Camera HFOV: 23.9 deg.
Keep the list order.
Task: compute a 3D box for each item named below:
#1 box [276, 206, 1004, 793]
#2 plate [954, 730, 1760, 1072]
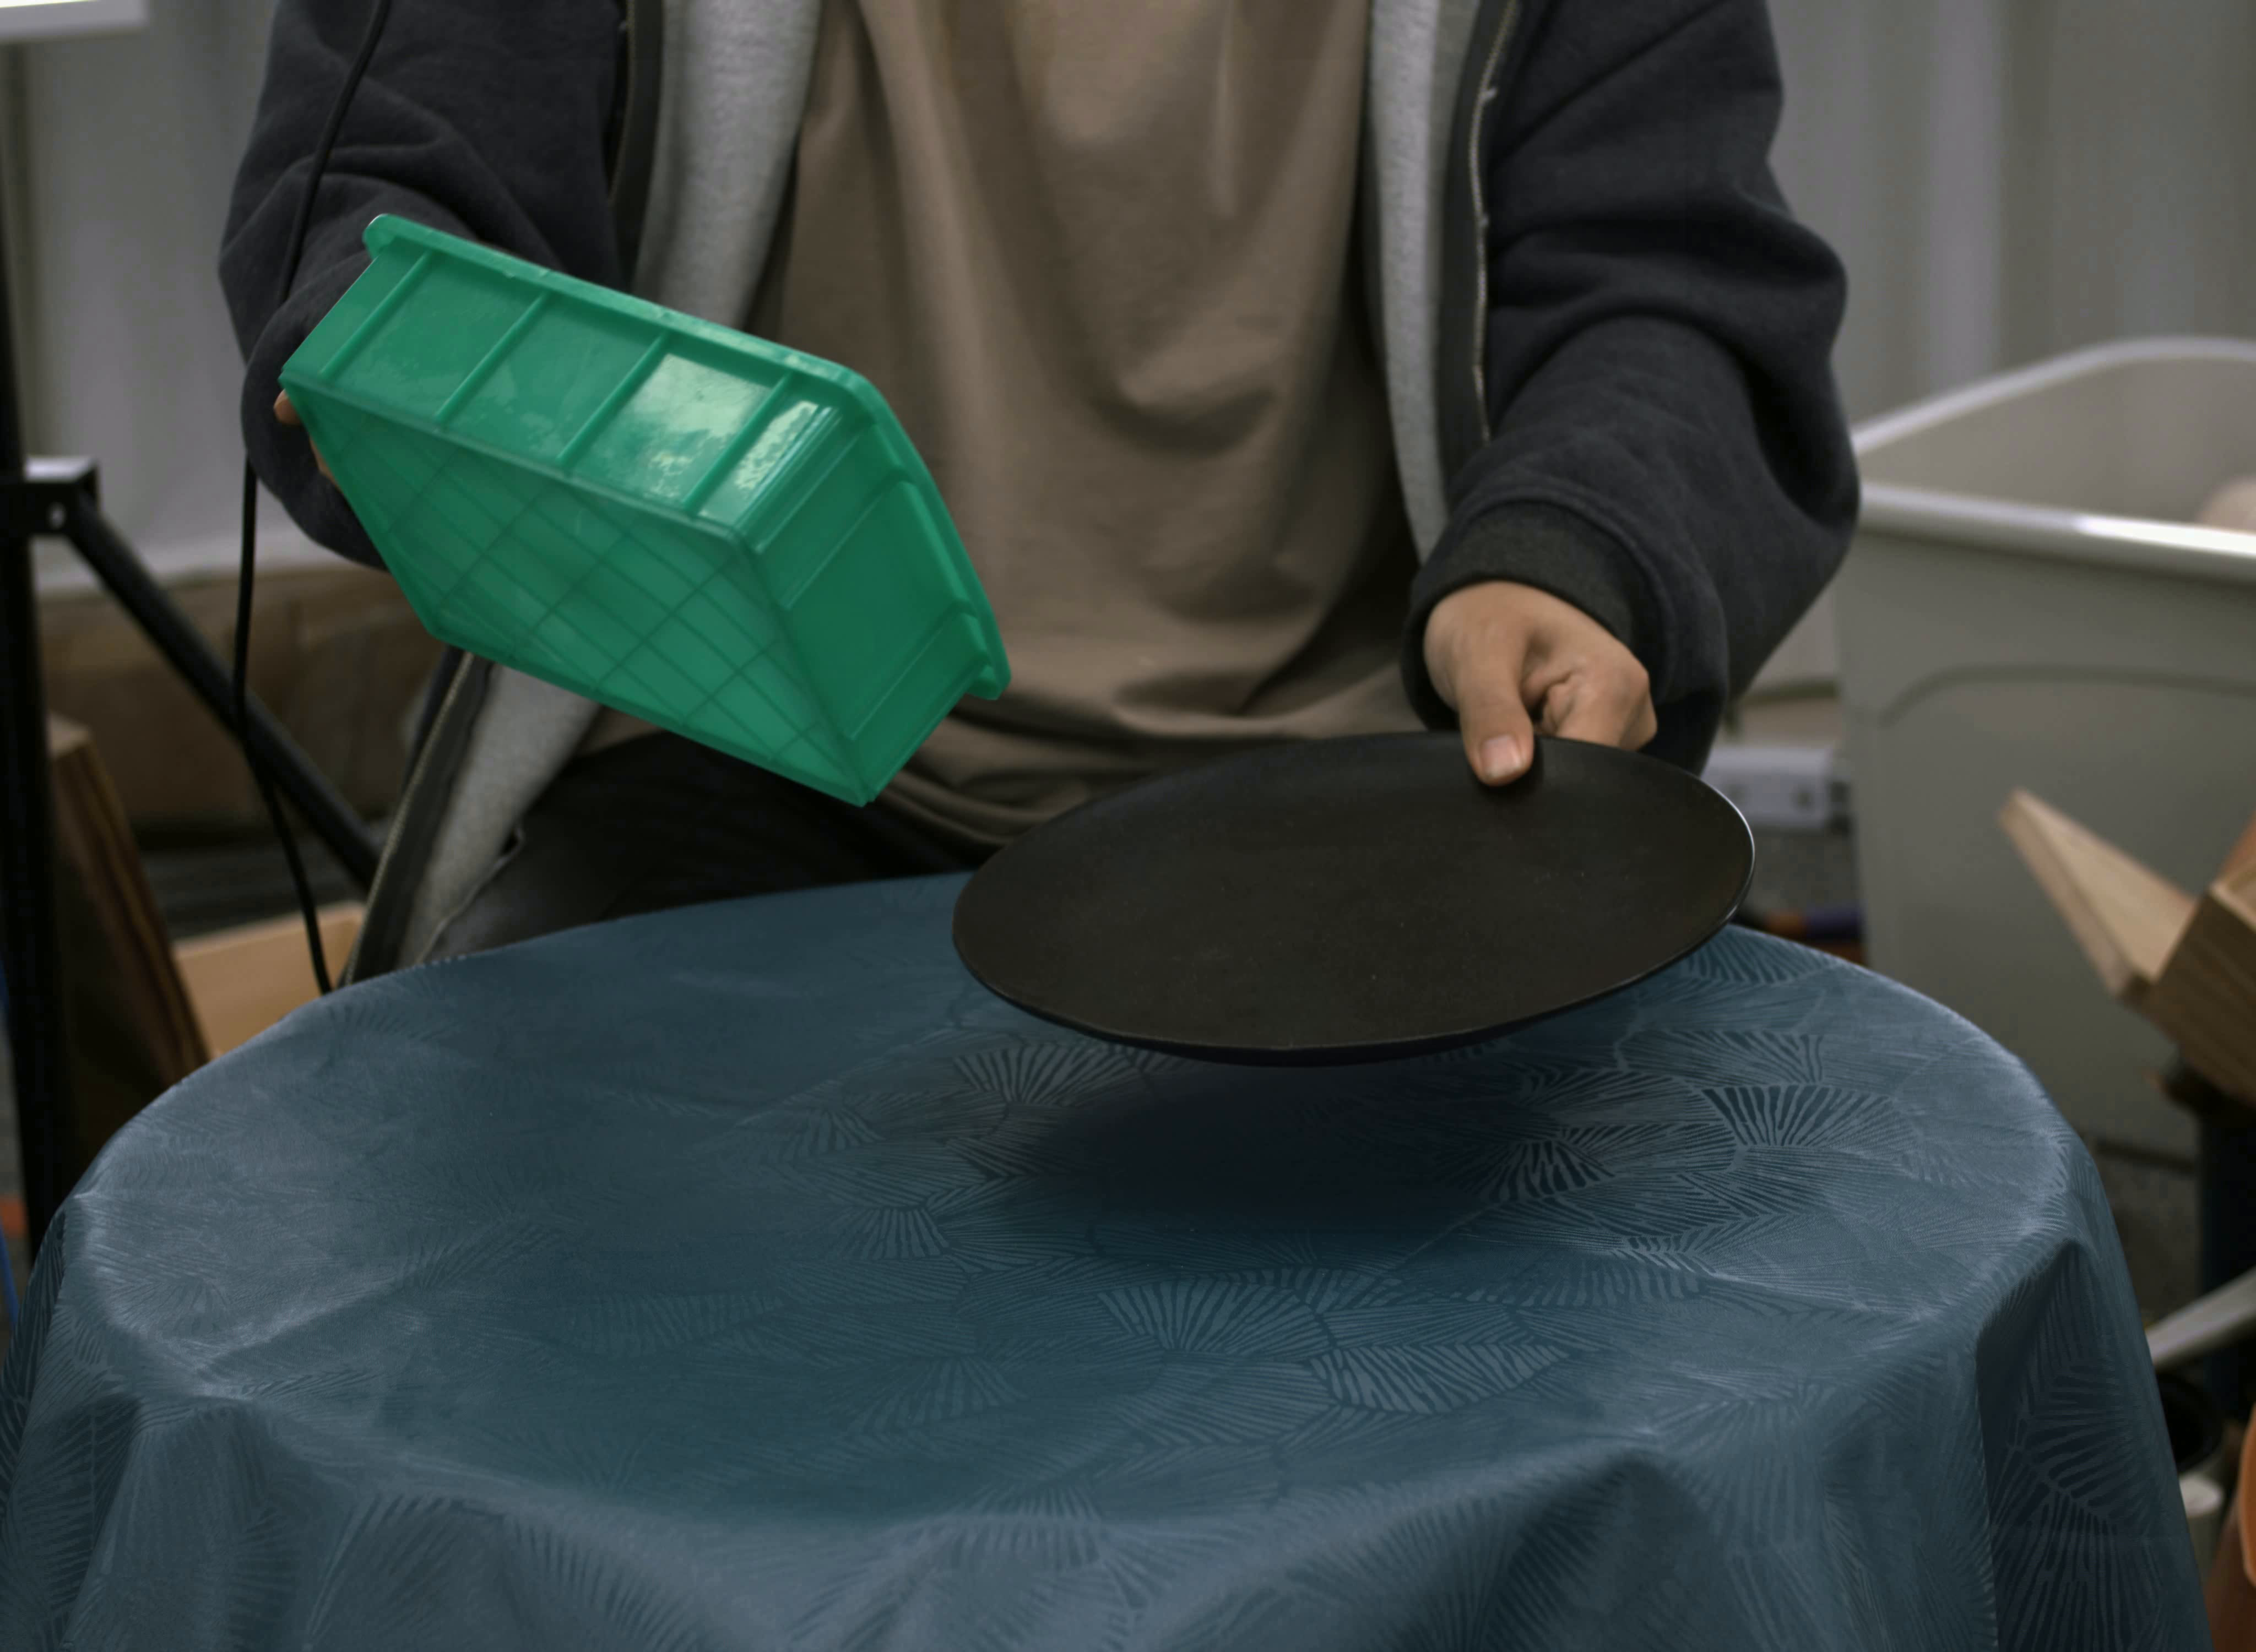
[{"bbox_3d":[-0.146,-0.092,1.556,0.215,0.136,0.065,19,58,33],"label":"box"},{"bbox_3d":[0.069,0.026,1.603,0.243,0.023,0.246,-8,21,2],"label":"plate"}]
